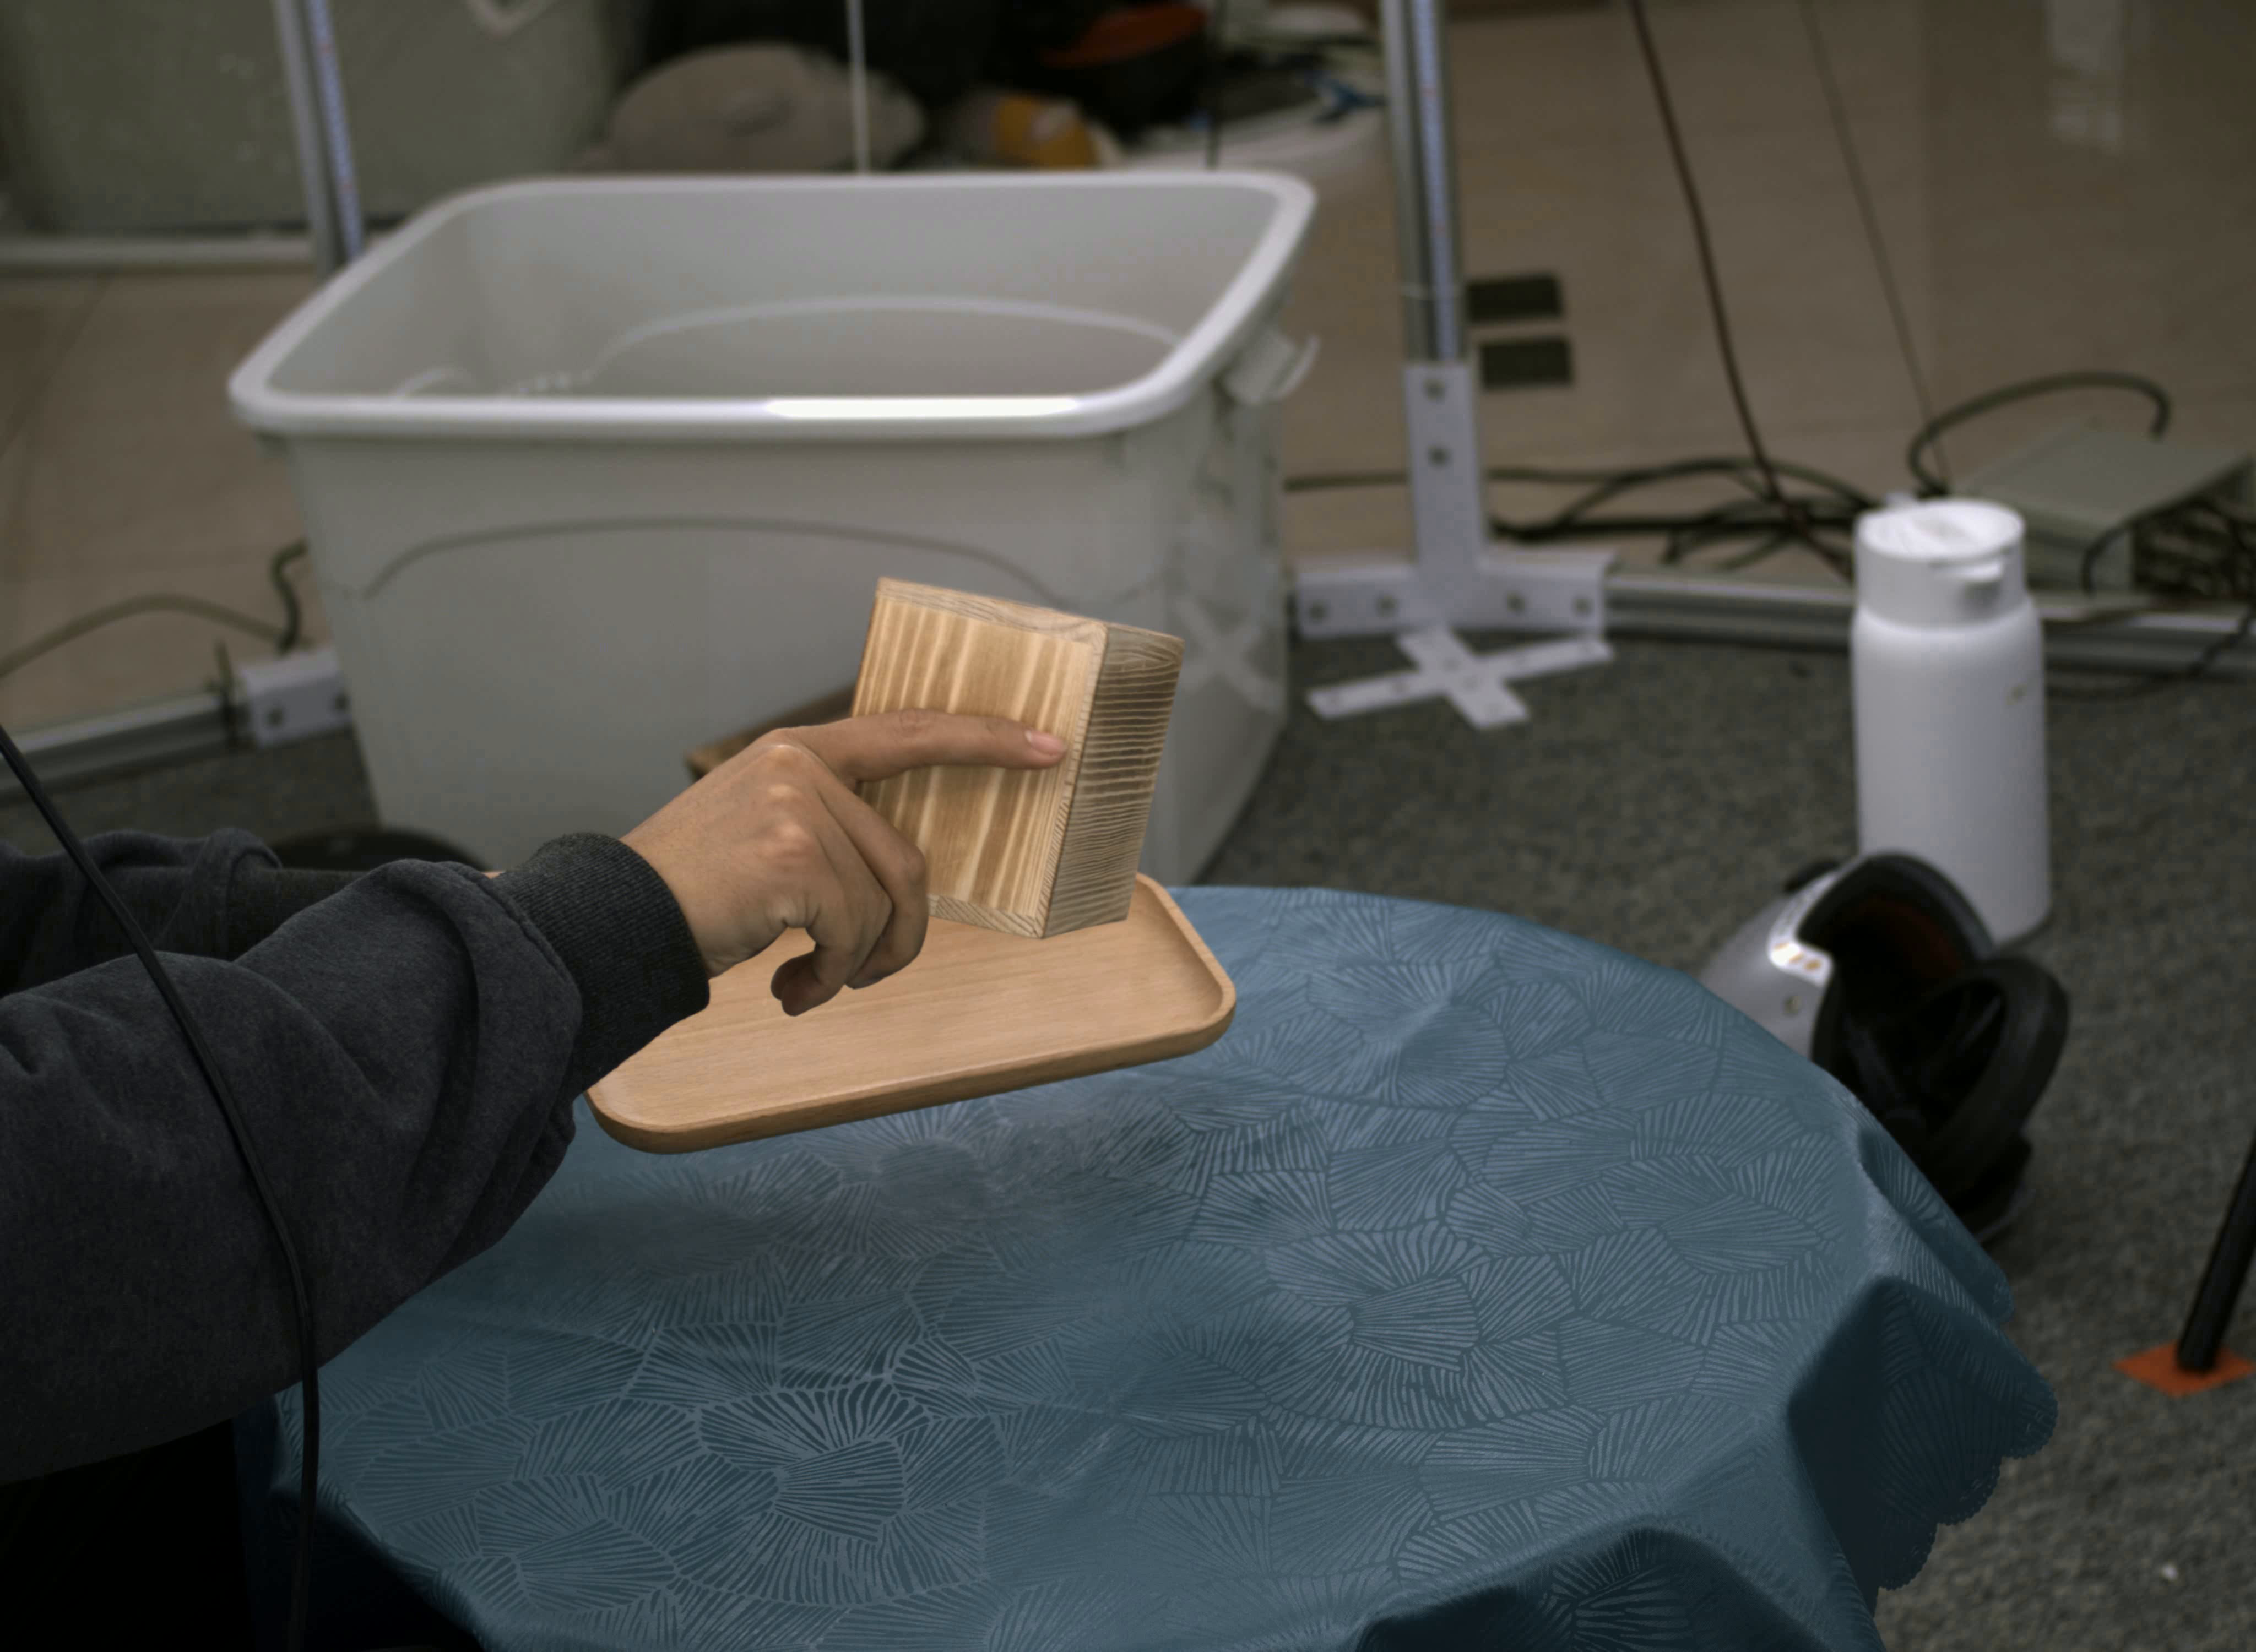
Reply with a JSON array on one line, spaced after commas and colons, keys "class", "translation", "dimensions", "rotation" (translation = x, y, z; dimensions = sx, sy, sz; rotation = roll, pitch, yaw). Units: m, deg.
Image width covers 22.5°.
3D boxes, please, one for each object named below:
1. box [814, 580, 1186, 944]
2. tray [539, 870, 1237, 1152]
[{"class": "box", "translation": [-0.041, -0.024, 1.955], "dimensions": [0.080, 0.108, 0.211], "rotation": [13, 3, 7]}, {"class": "tray", "translation": [-0.090, 0.068, 2.127], "dimensions": [0.250, 0.023, 0.128], "rotation": [-10, 30, -17]}]
